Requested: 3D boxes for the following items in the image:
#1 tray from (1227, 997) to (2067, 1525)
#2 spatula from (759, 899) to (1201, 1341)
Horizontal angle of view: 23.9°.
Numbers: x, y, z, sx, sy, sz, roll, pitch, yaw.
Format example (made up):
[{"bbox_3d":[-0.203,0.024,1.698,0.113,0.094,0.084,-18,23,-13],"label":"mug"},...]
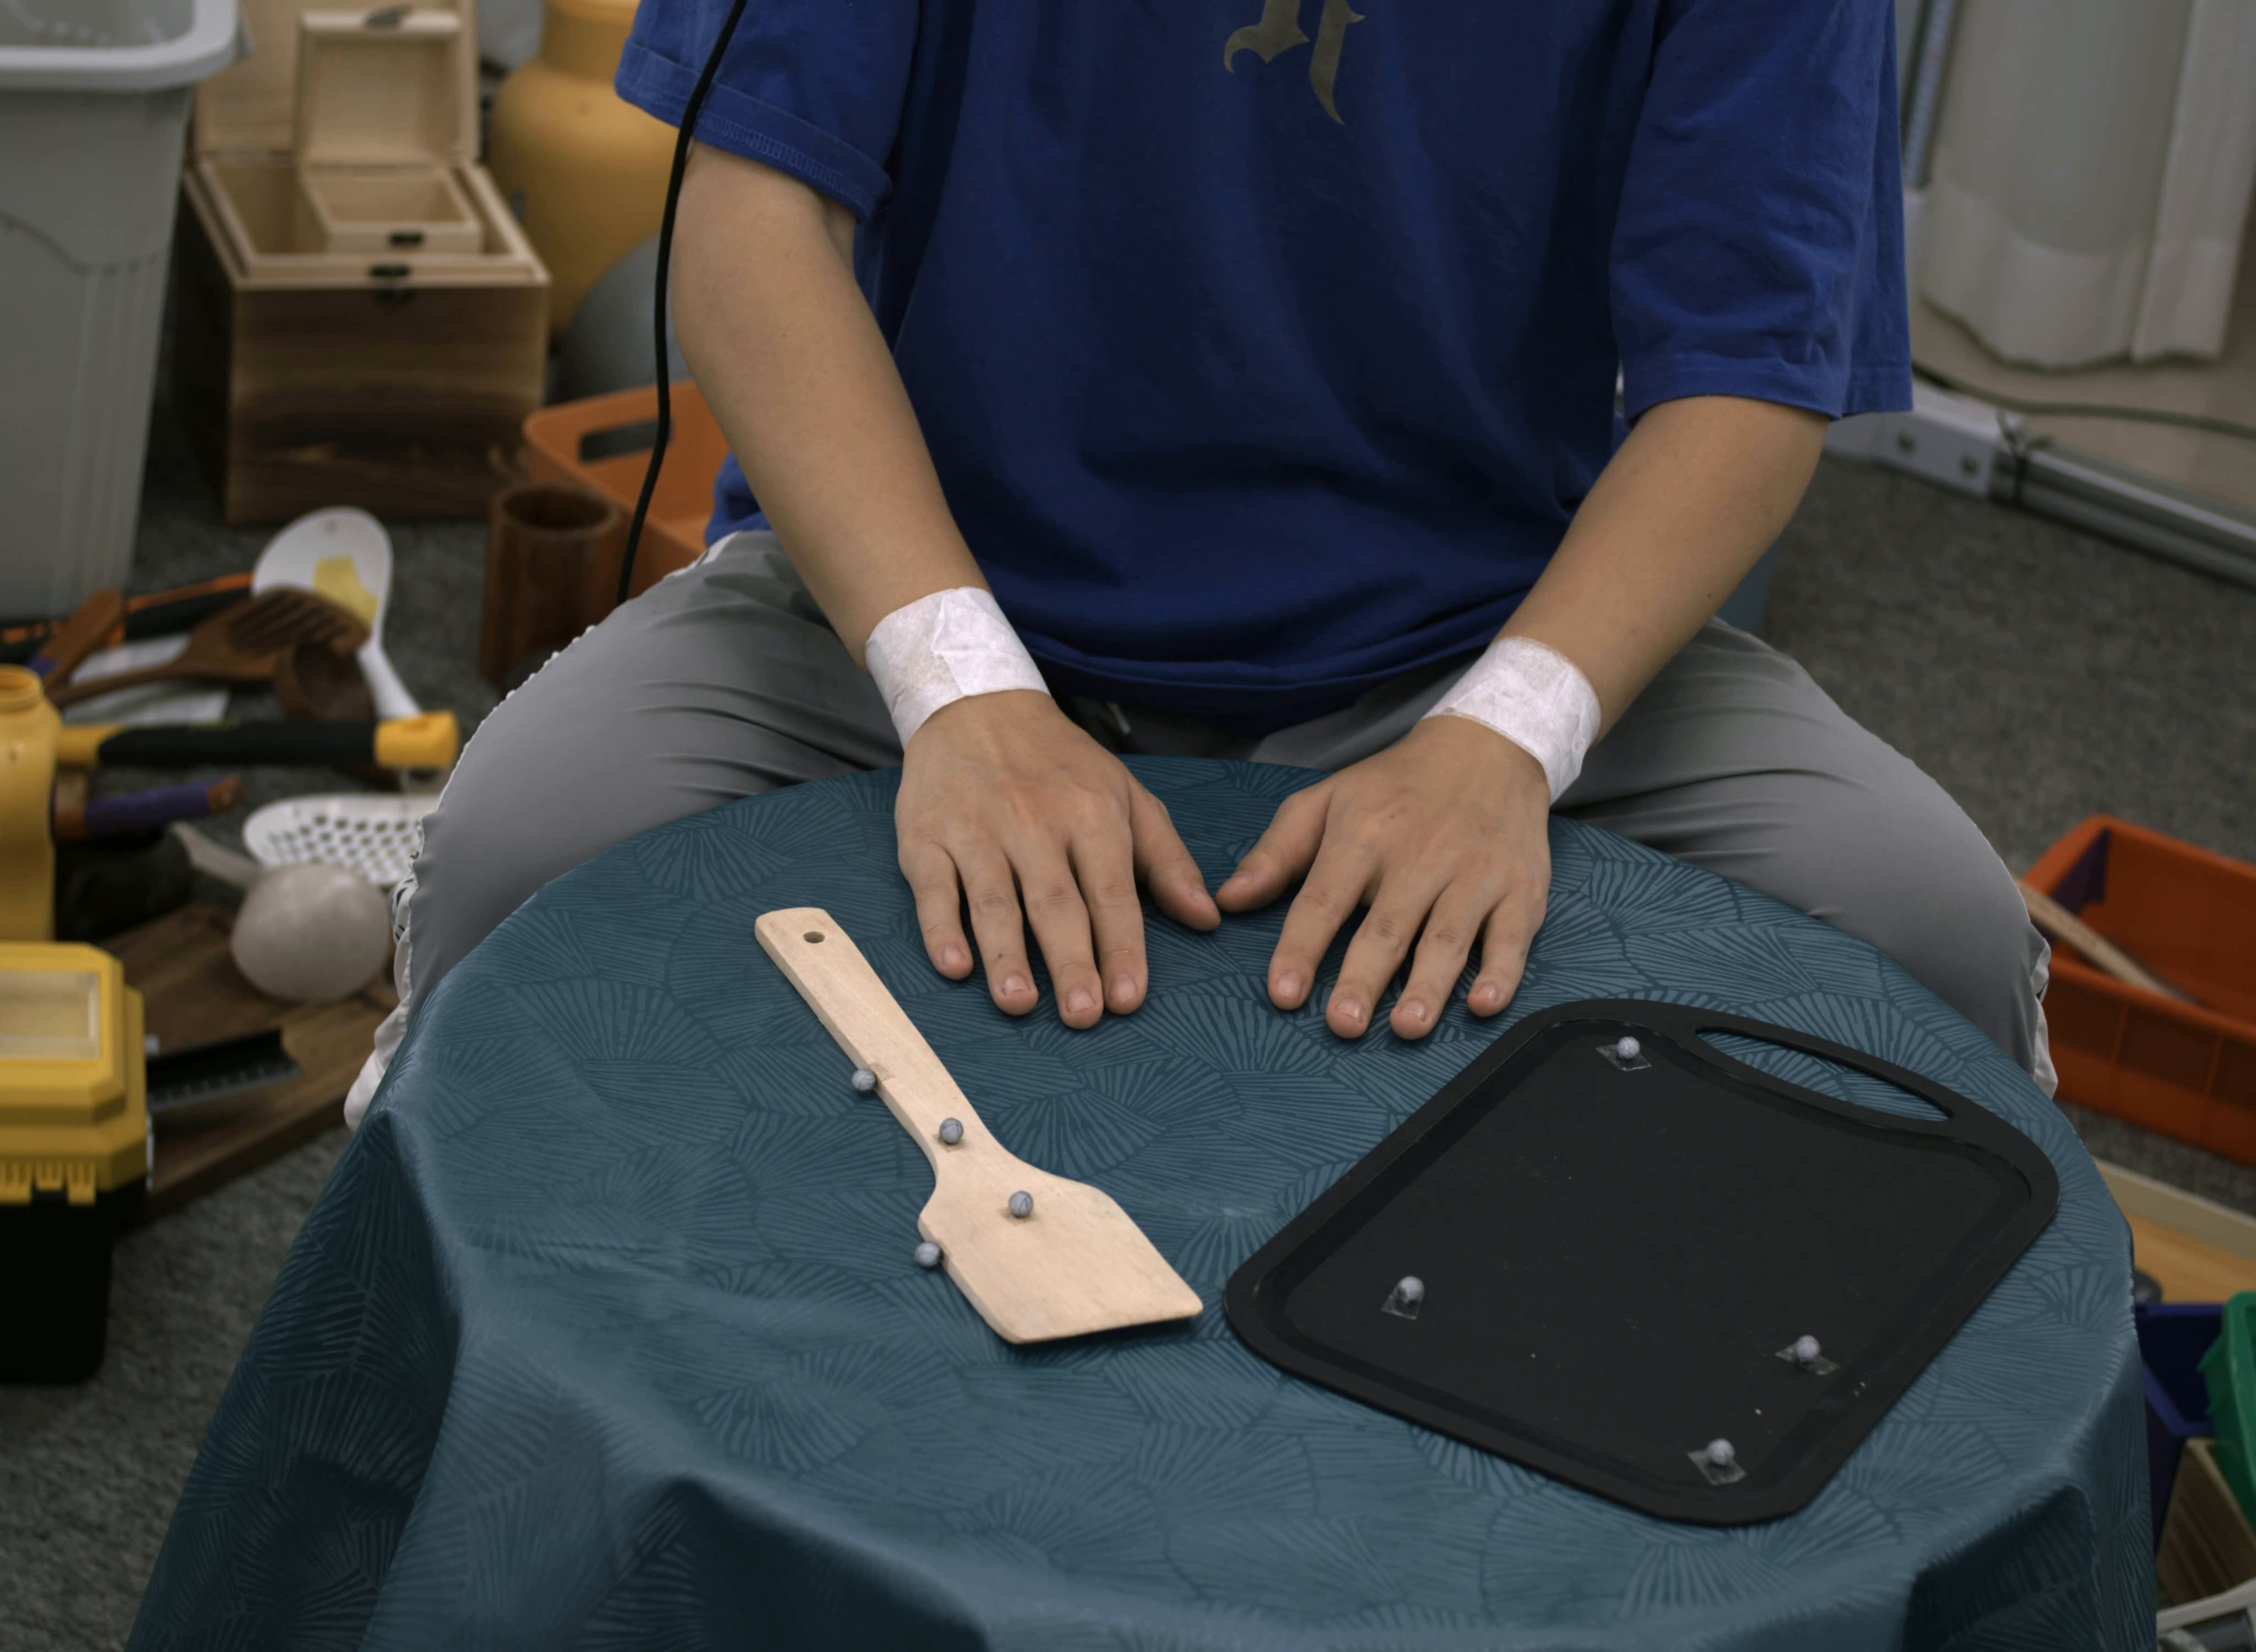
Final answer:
[{"bbox_3d":[0.184,0.136,1.813,0.212,0.010,0.325,20,30,24],"label":"tray"},{"bbox_3d":[-0.066,0.097,1.831,0.072,0.010,0.296,-8,30,-23],"label":"spatula"}]
